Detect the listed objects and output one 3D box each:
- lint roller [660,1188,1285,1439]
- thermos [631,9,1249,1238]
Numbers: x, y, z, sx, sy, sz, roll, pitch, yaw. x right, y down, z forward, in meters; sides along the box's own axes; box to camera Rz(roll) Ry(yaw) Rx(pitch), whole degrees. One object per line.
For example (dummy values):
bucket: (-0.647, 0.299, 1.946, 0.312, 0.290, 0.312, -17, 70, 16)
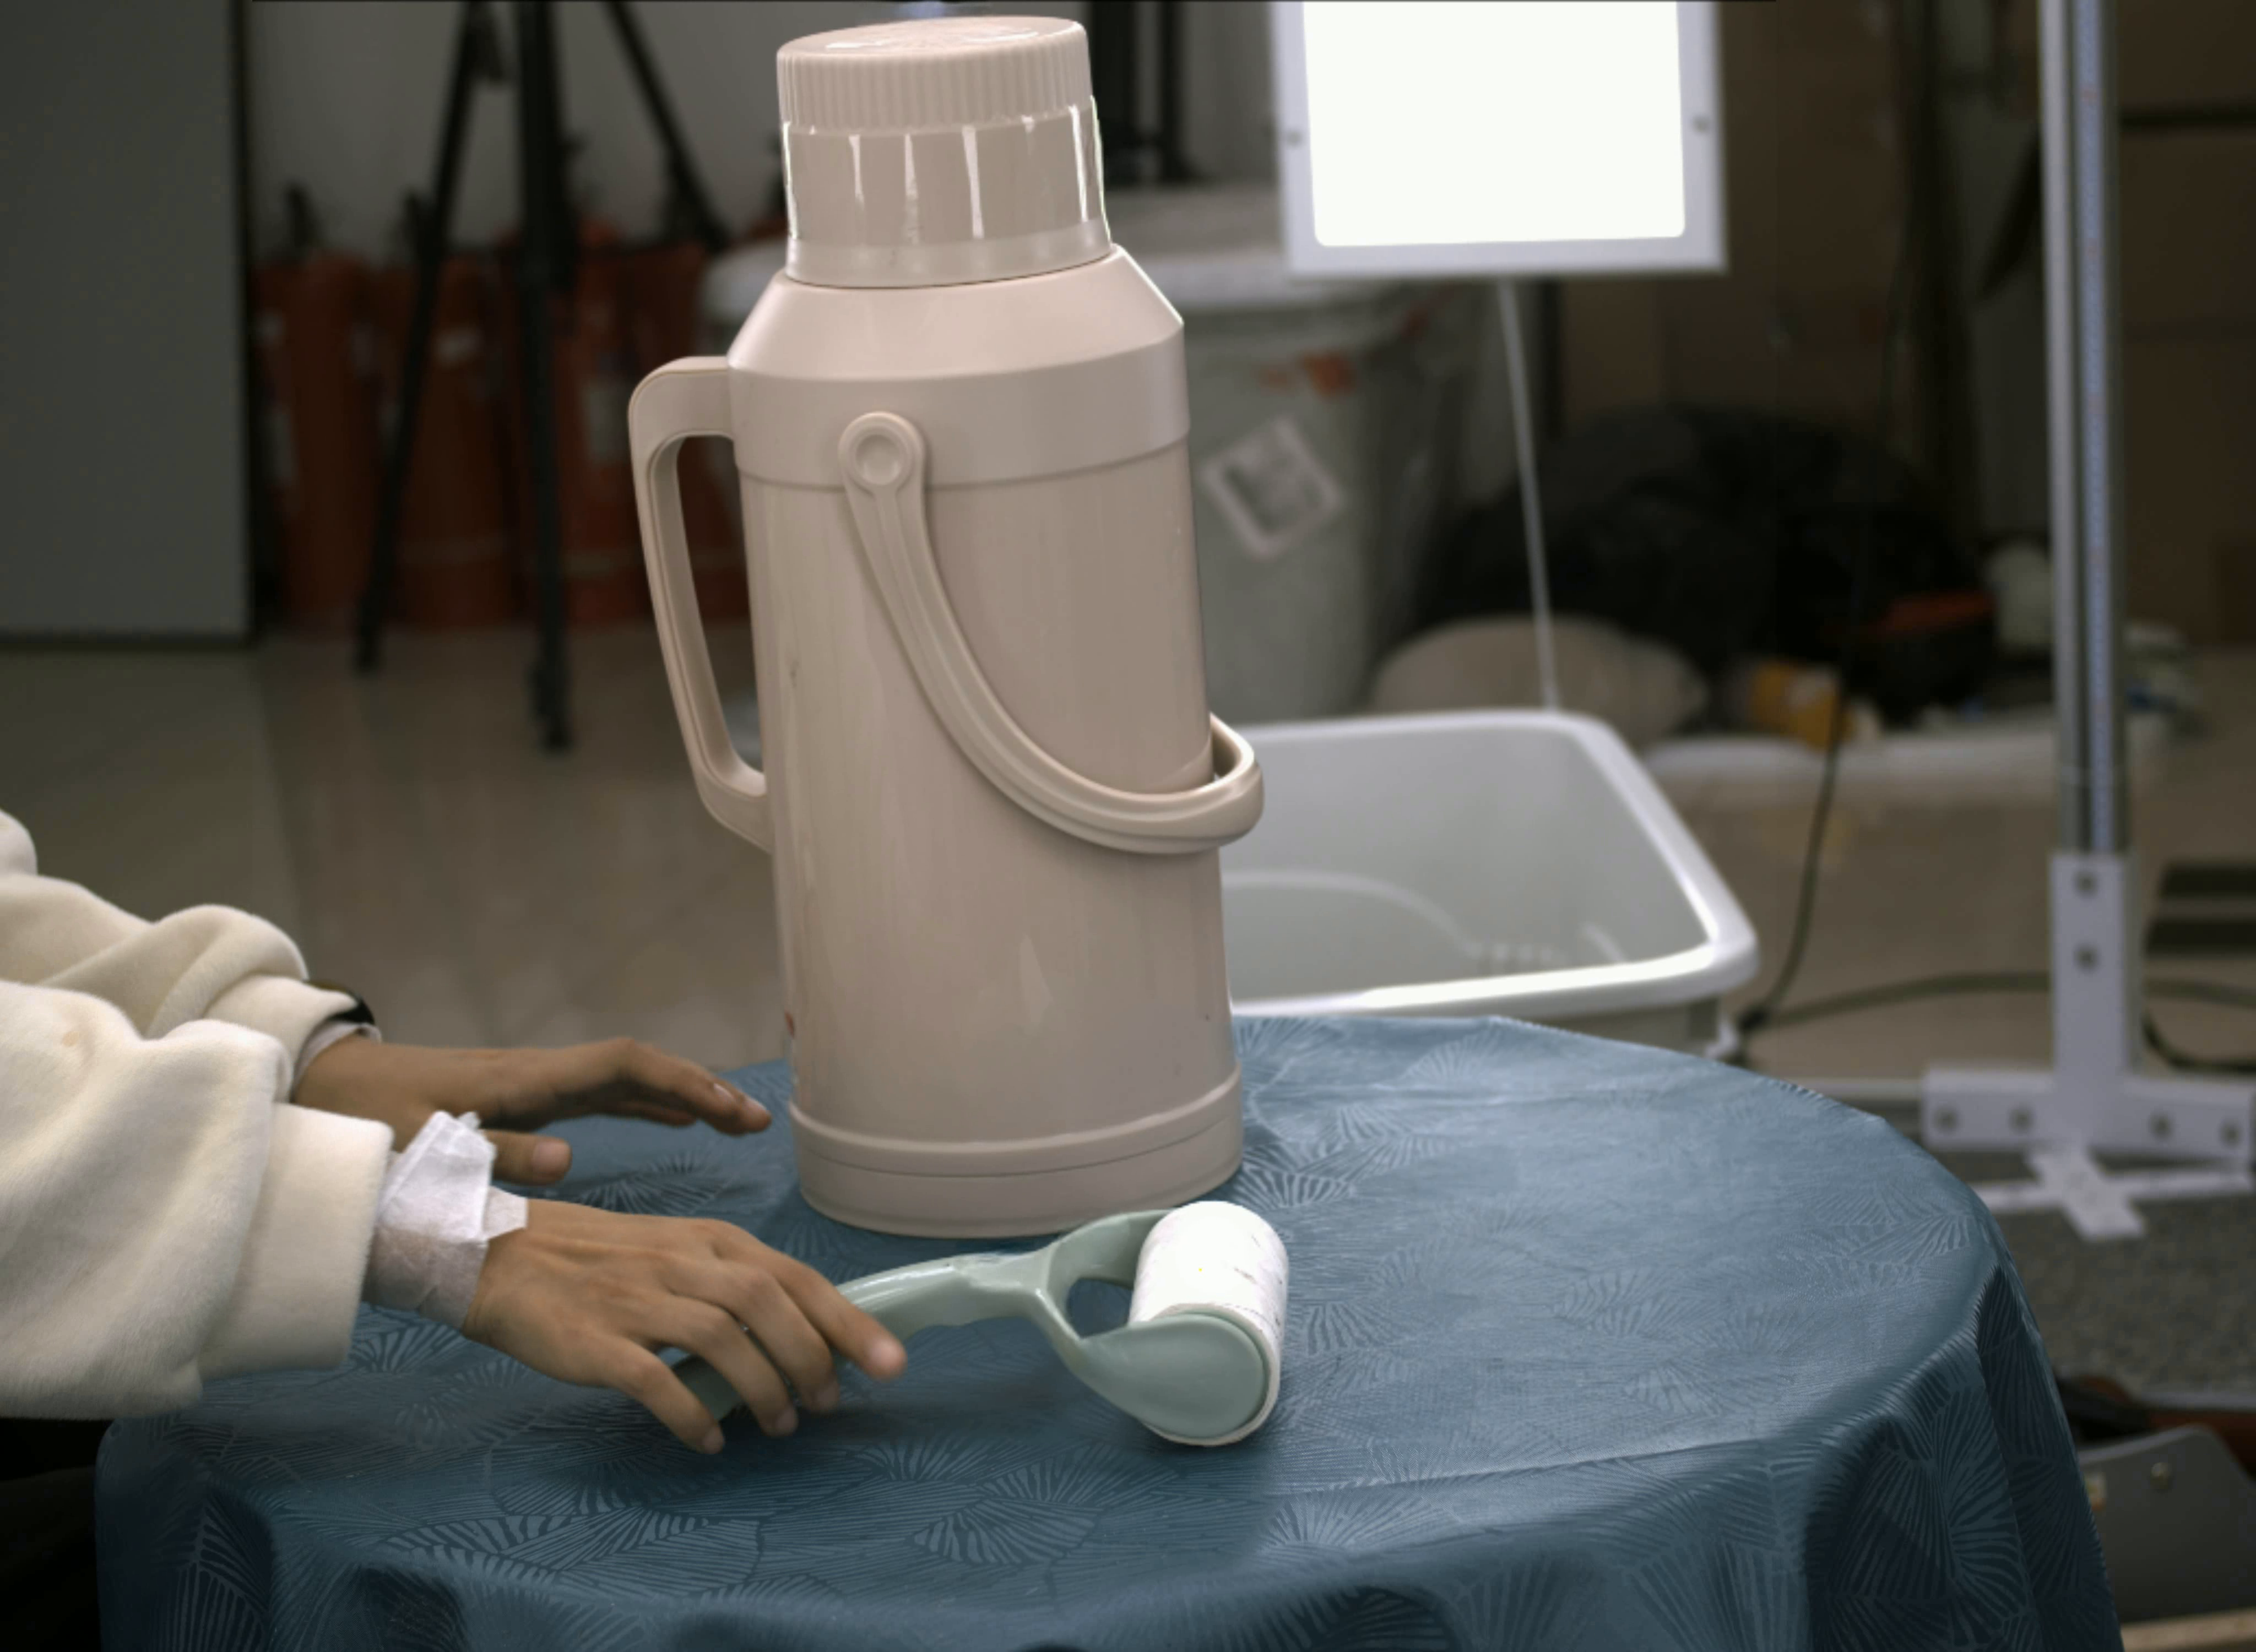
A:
lint roller: (-0.048, 0.154, 1.705, 0.198, 0.049, 0.116, -3, 16, 7)
thermos: (-0.064, -0.071, 1.893, 0.209, 0.408, 0.172, 0, 15, 18)
